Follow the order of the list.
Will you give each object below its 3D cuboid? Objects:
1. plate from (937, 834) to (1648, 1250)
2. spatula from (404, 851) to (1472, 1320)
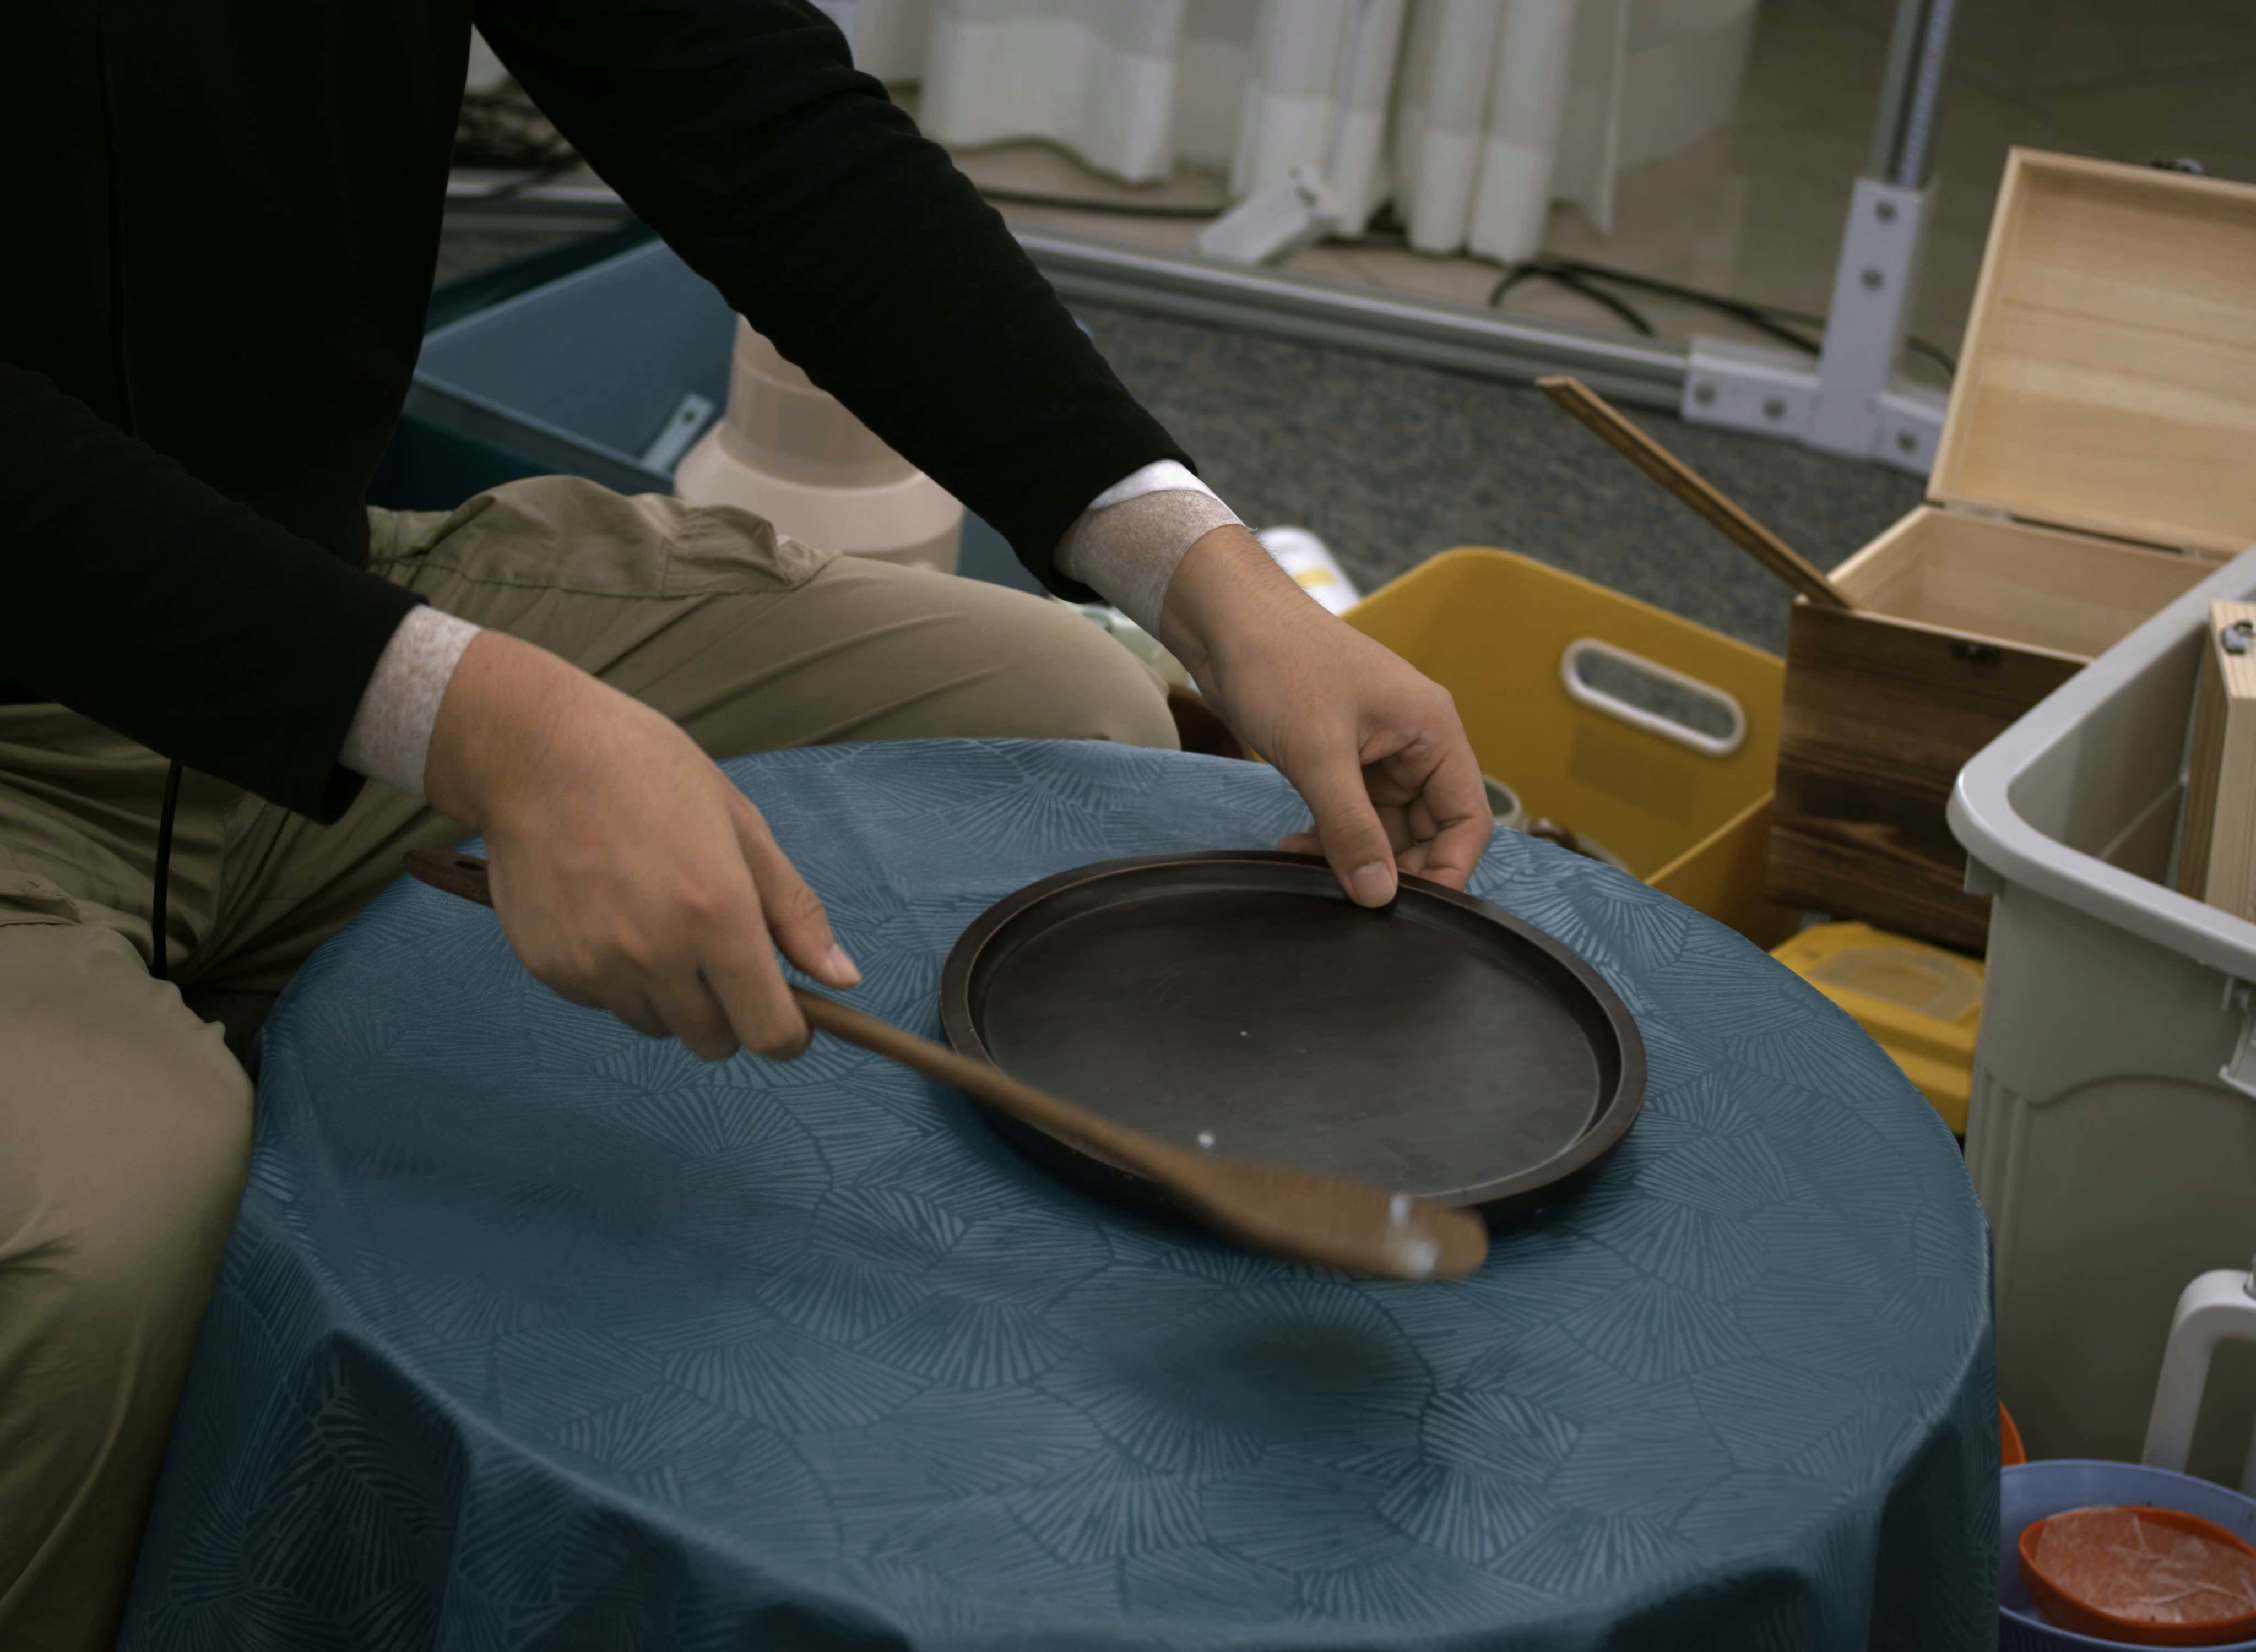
[{"bbox_3d":[0.057,0.077,1.876,0.254,0.029,0.256,4,29,-2],"label":"plate"},{"bbox_3d":[-0.067,0.081,1.730,0.387,0.016,0.096,23,15,14],"label":"spatula"}]
